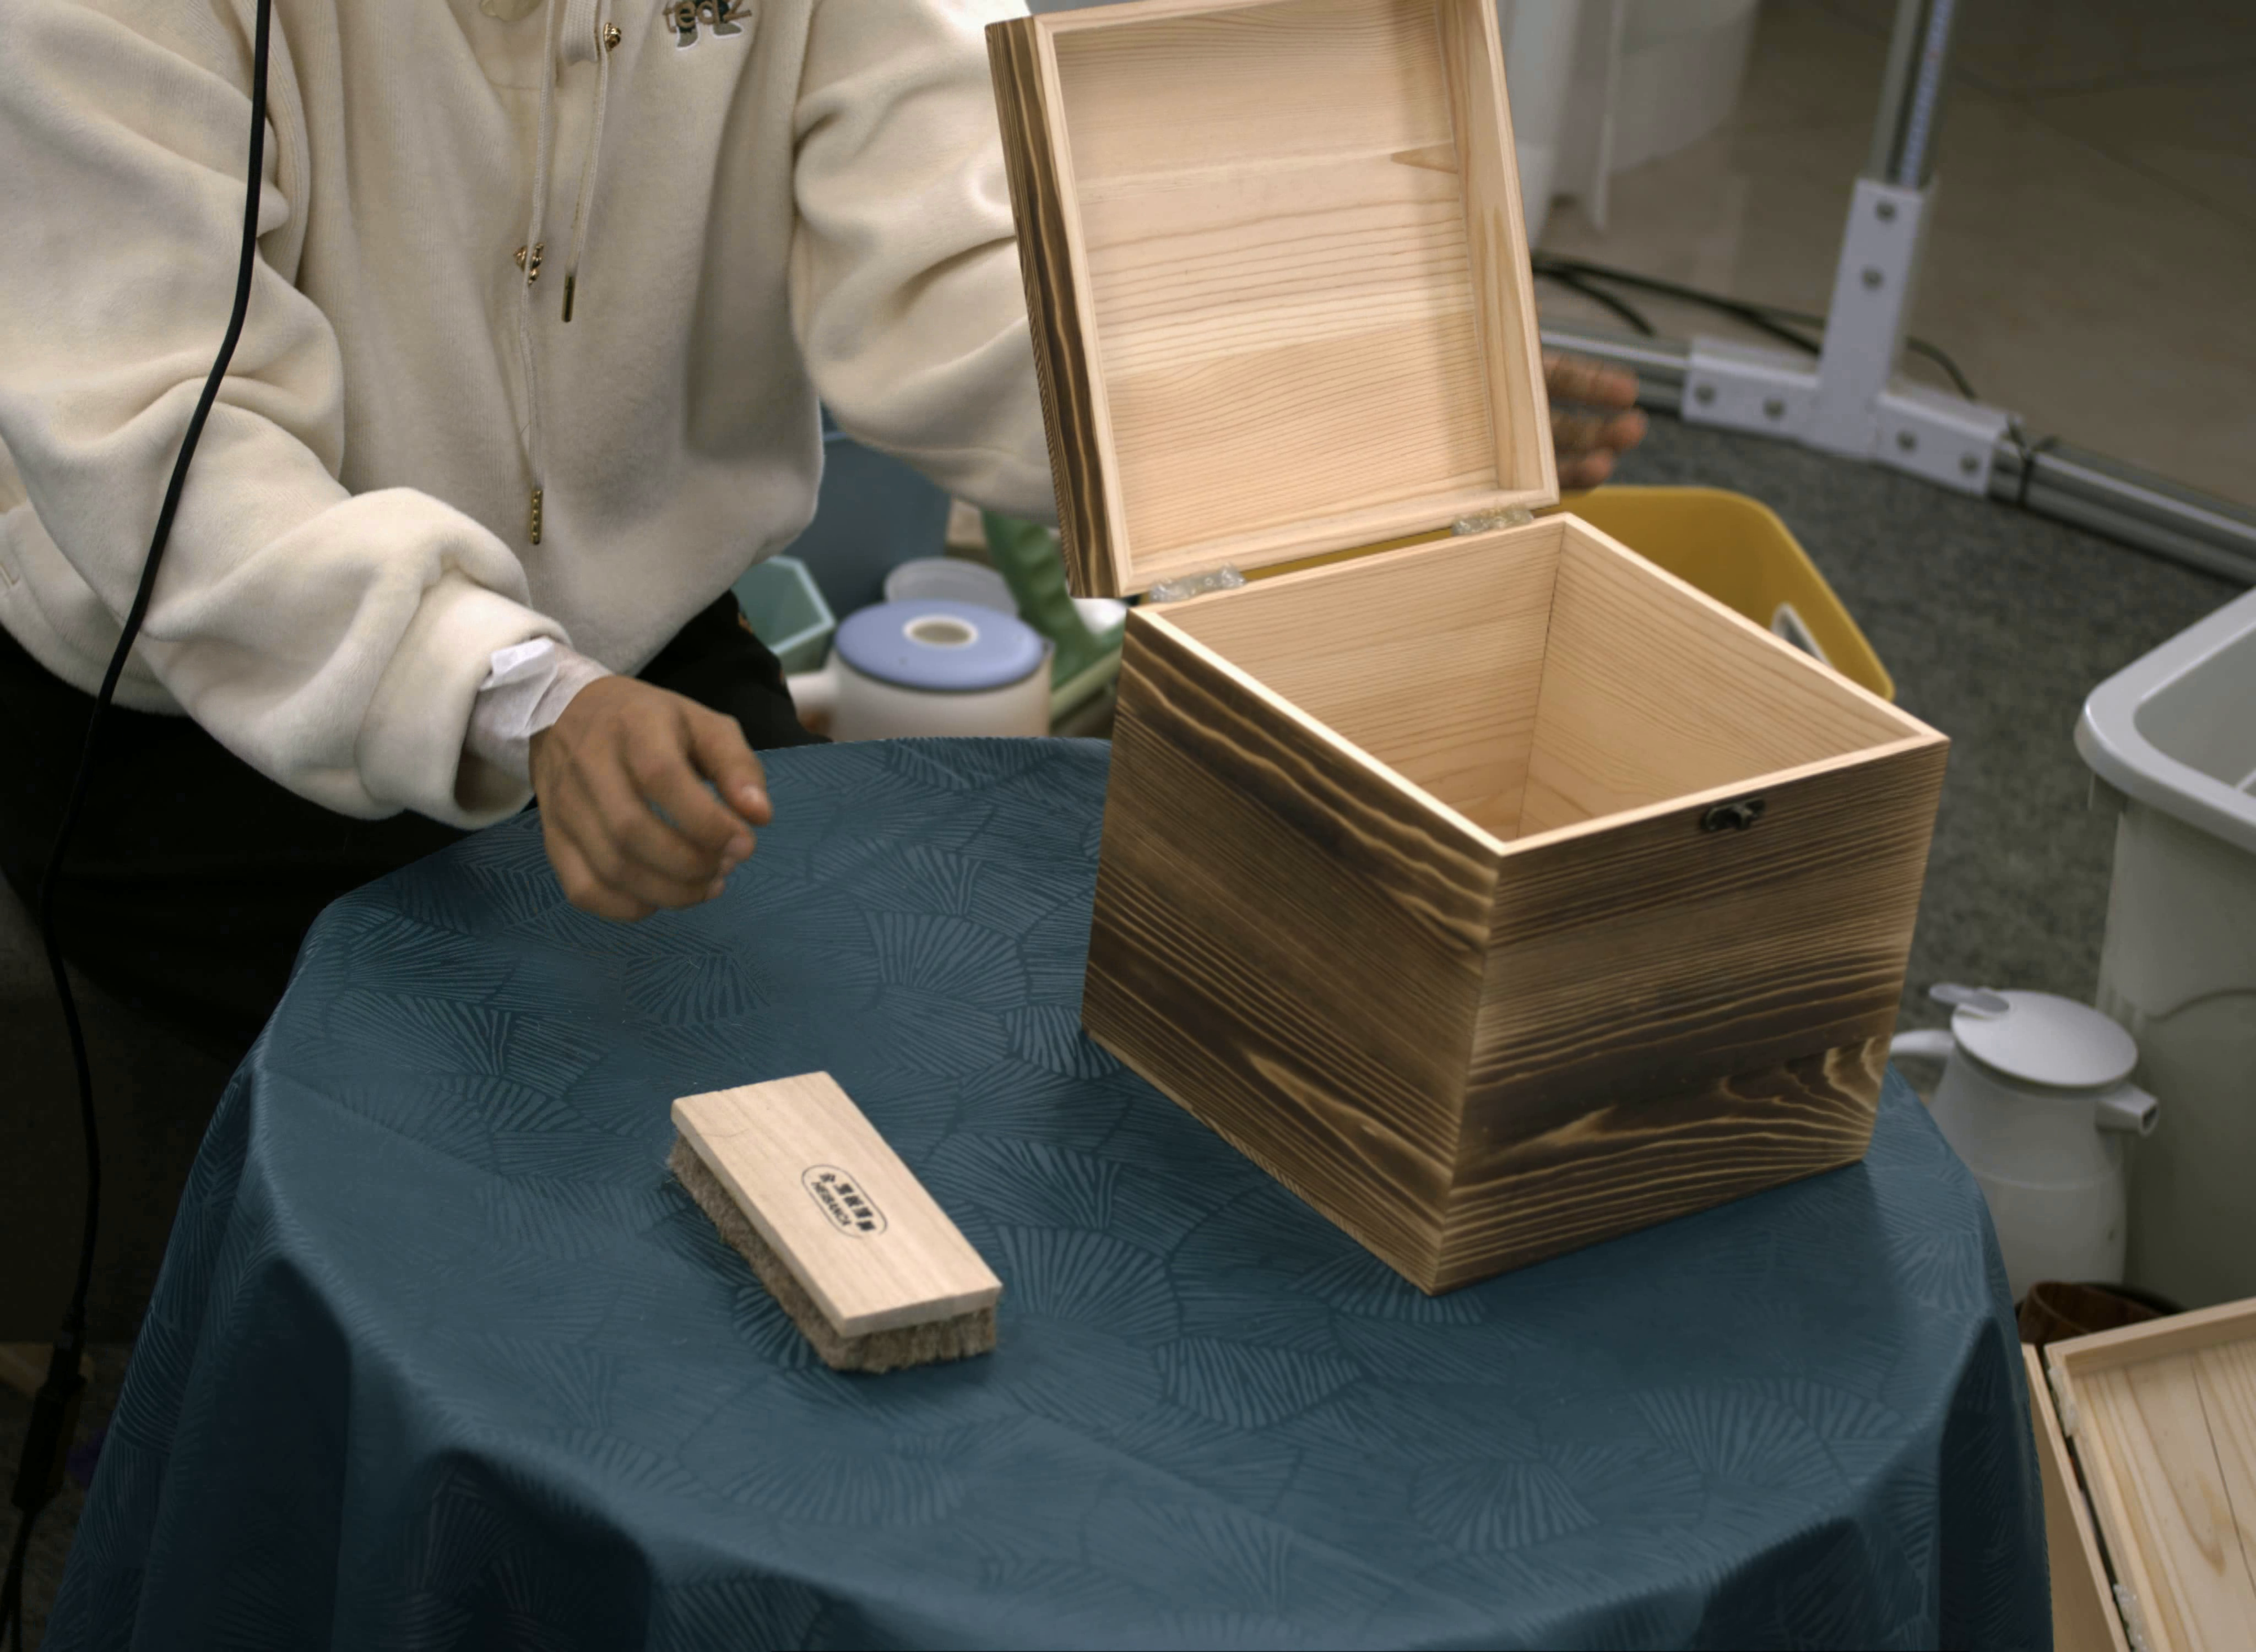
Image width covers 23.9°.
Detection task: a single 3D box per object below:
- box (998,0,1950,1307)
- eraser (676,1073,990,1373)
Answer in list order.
[{"bbox_3d":[0.108,-0.086,1.837,0.207,0.374,0.325,-14,34,-34],"label":"box"},{"bbox_3d":[-0.097,0.130,1.736,0.057,0.029,0.140,-10,30,-24],"label":"eraser"}]
